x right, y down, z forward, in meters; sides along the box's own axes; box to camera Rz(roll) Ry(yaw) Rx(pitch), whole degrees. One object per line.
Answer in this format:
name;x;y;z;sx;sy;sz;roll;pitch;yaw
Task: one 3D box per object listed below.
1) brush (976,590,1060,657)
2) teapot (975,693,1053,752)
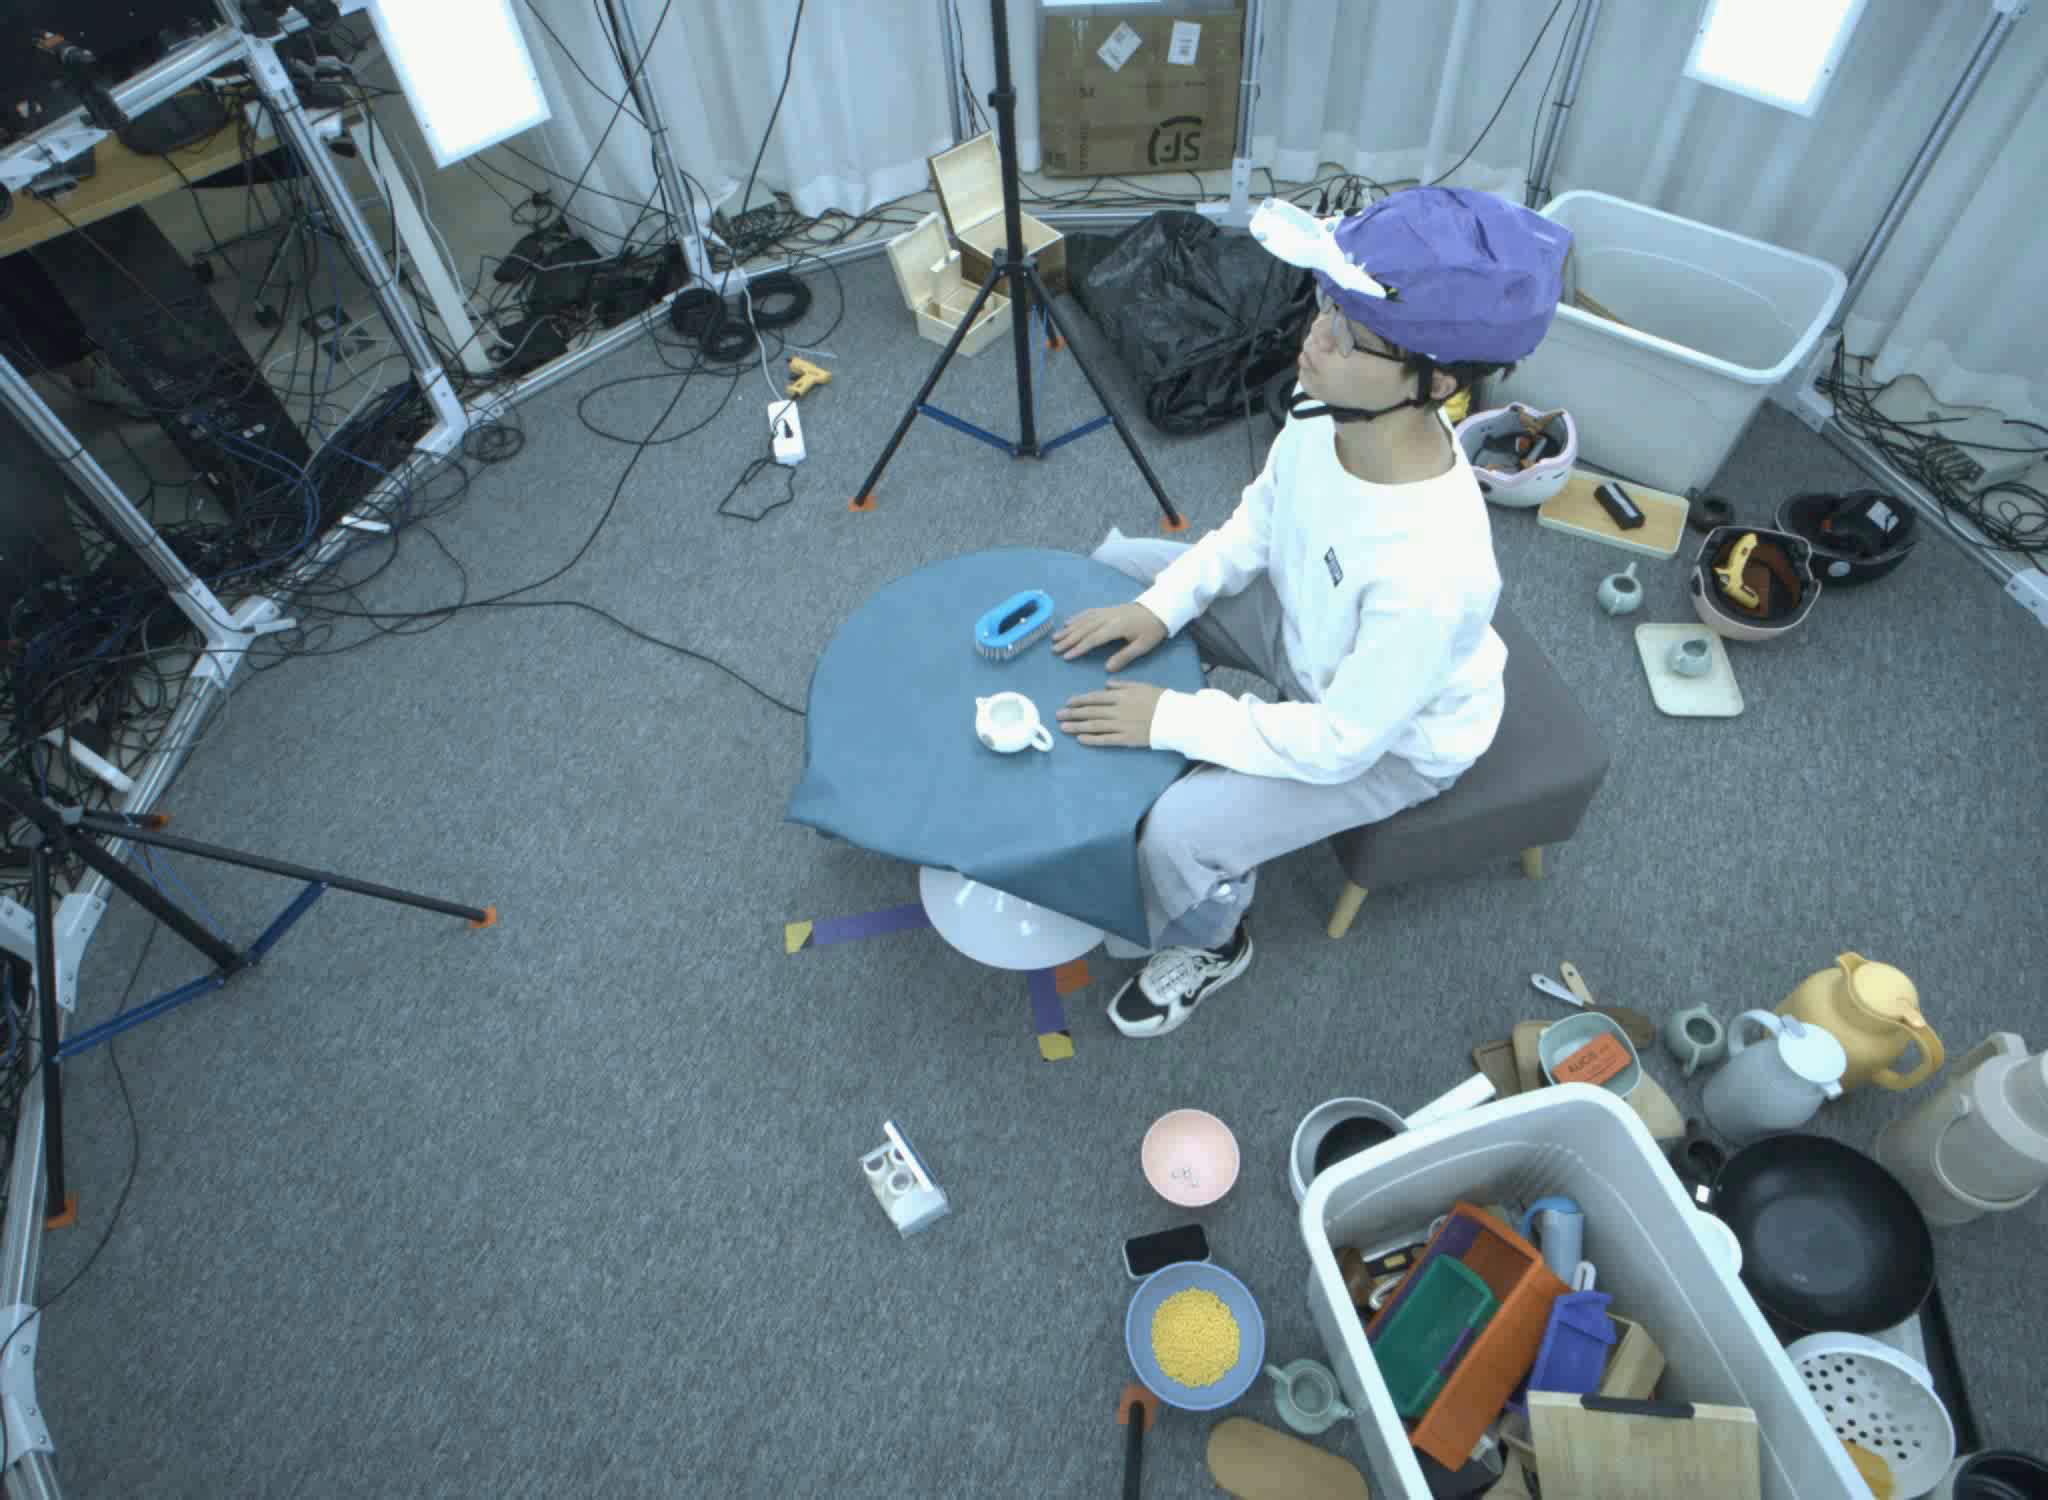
brush;-0.014;-0.206;1.893;0.143;0.064;0.082;-34;55;-21
teapot;-0.014;-0.036;1.777;0.126;0.057;0.093;21;53;14
